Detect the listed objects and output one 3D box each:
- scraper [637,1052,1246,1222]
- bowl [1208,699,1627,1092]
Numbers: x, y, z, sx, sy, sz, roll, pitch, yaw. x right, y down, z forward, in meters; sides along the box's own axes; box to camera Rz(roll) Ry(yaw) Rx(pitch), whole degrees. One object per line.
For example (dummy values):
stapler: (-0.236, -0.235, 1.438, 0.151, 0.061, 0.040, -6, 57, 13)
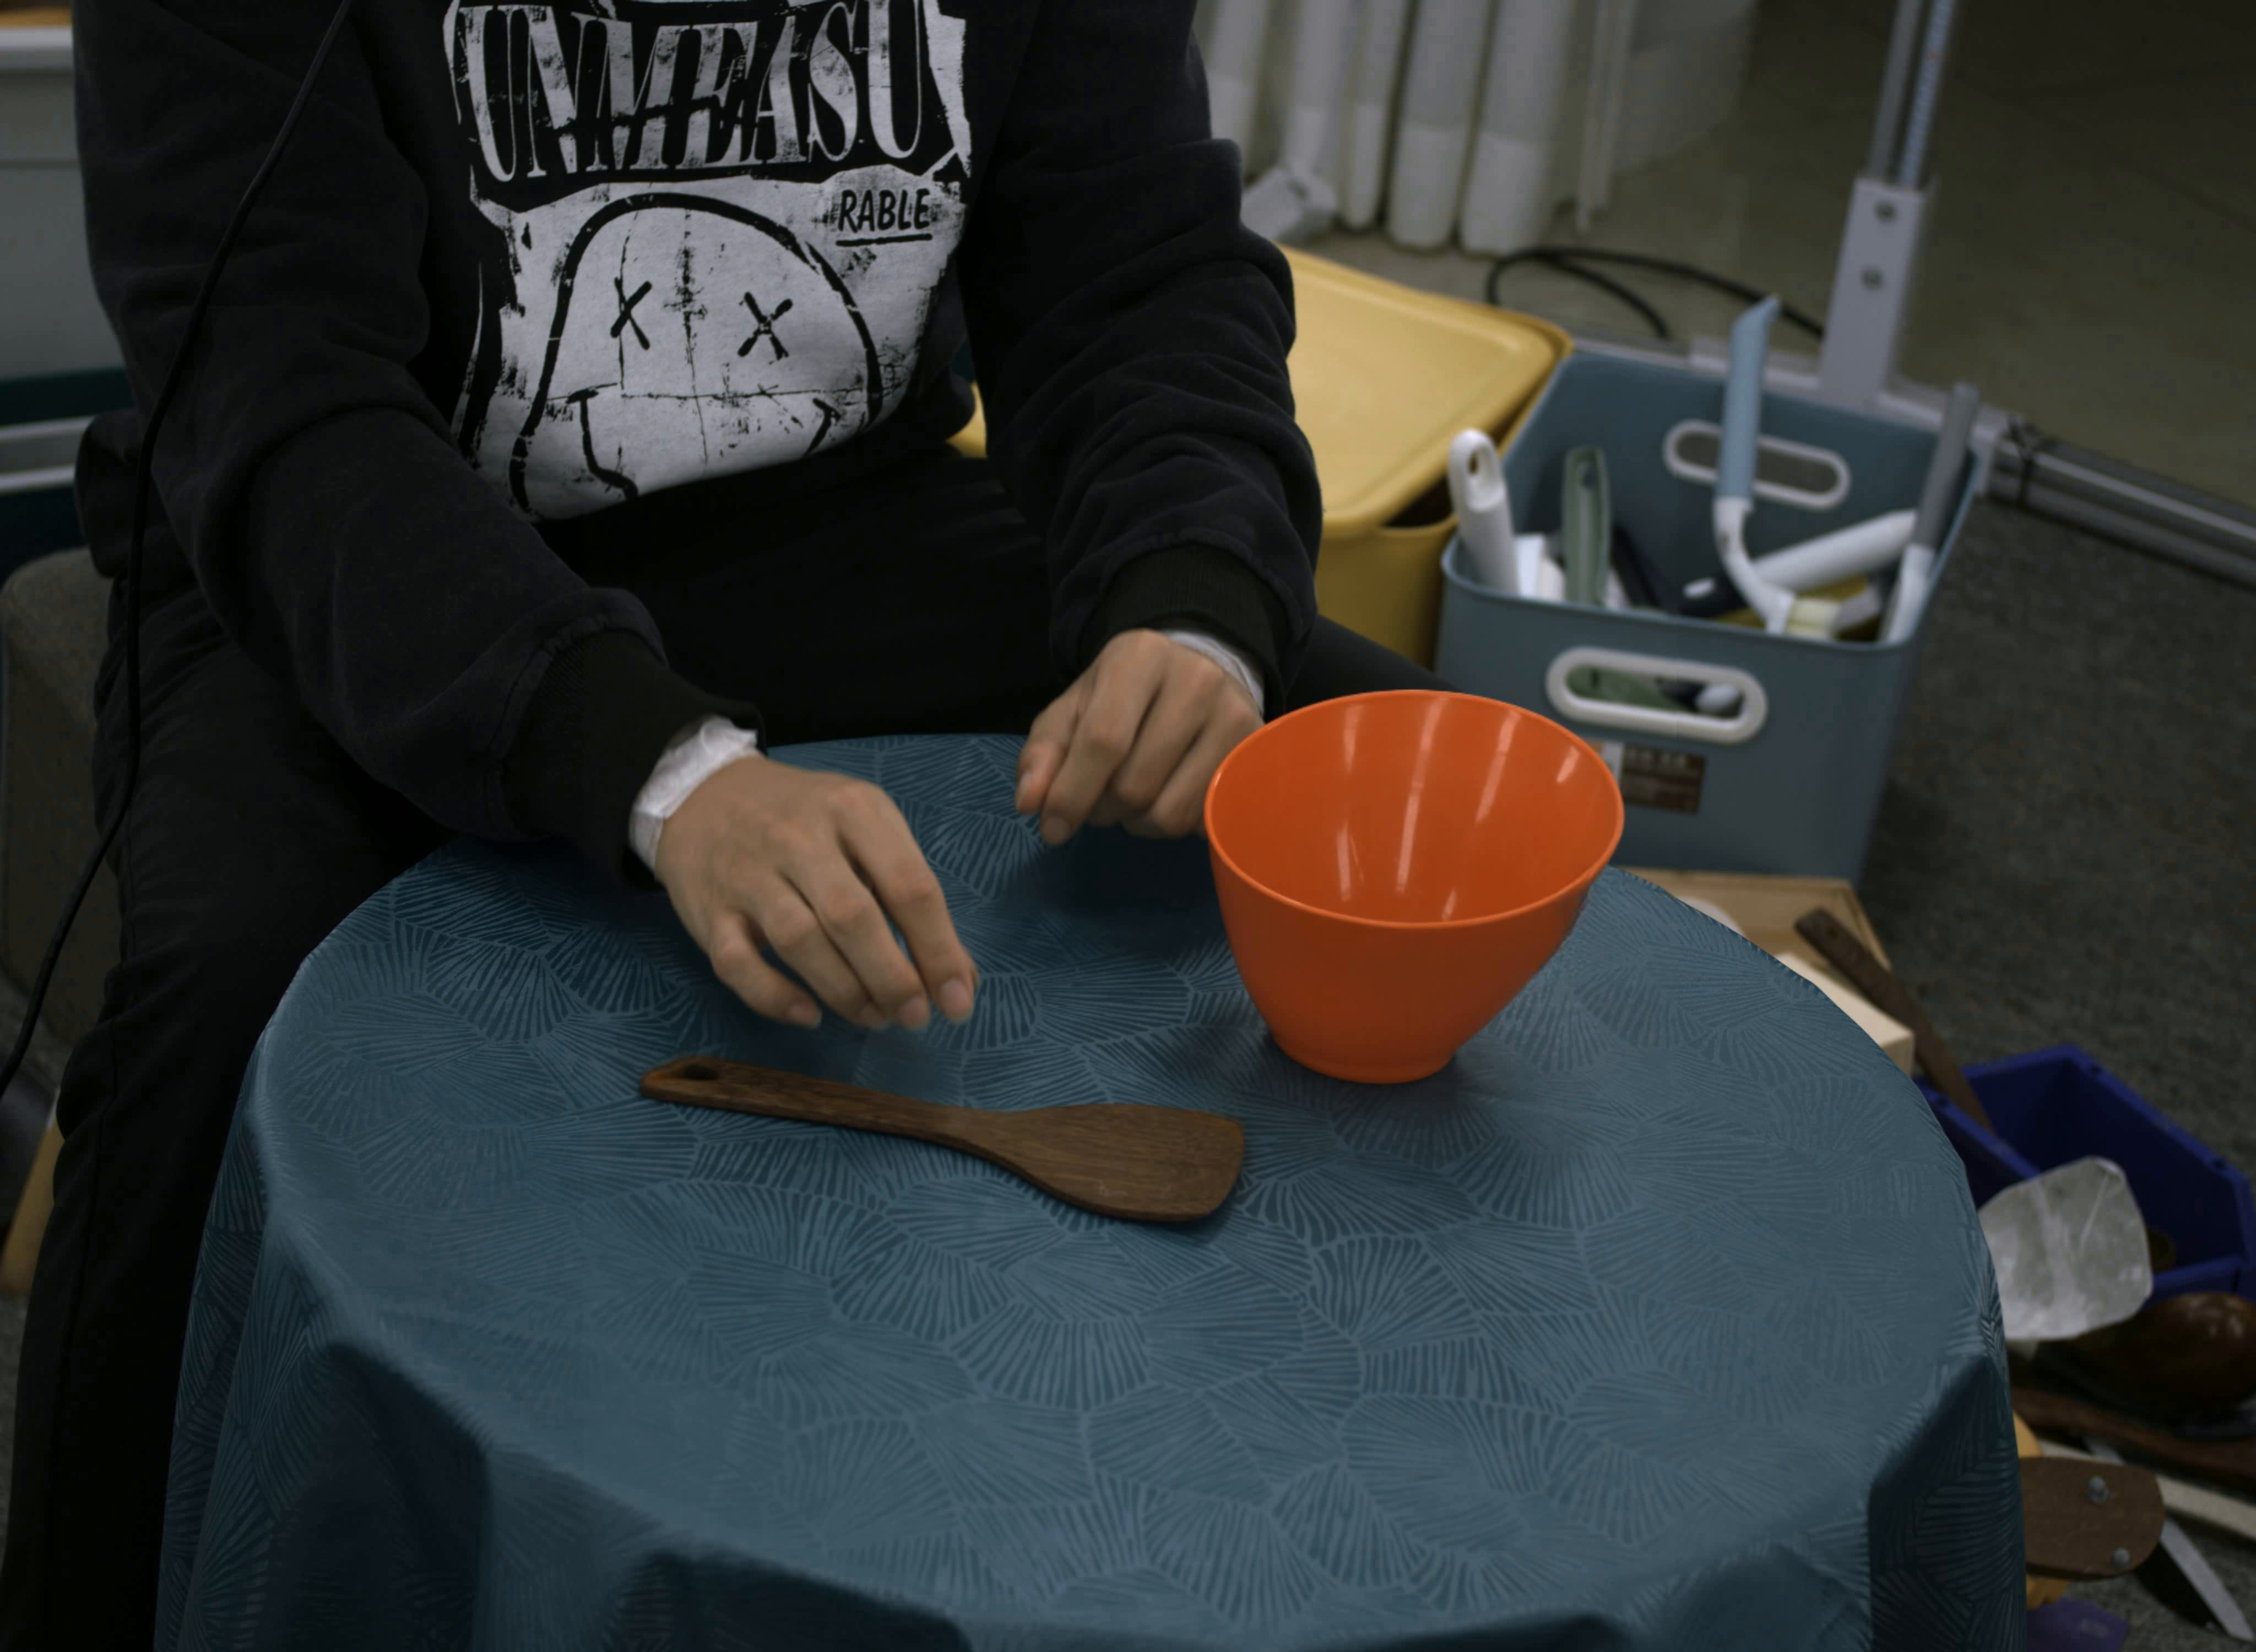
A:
scraper: (-0.065, 0.102, 1.820, 0.211, 0.011, 0.076, 10, 26, 8)
bowl: (0.098, 0.031, 1.895, 0.147, 0.104, 0.149, 5, 27, -3)
